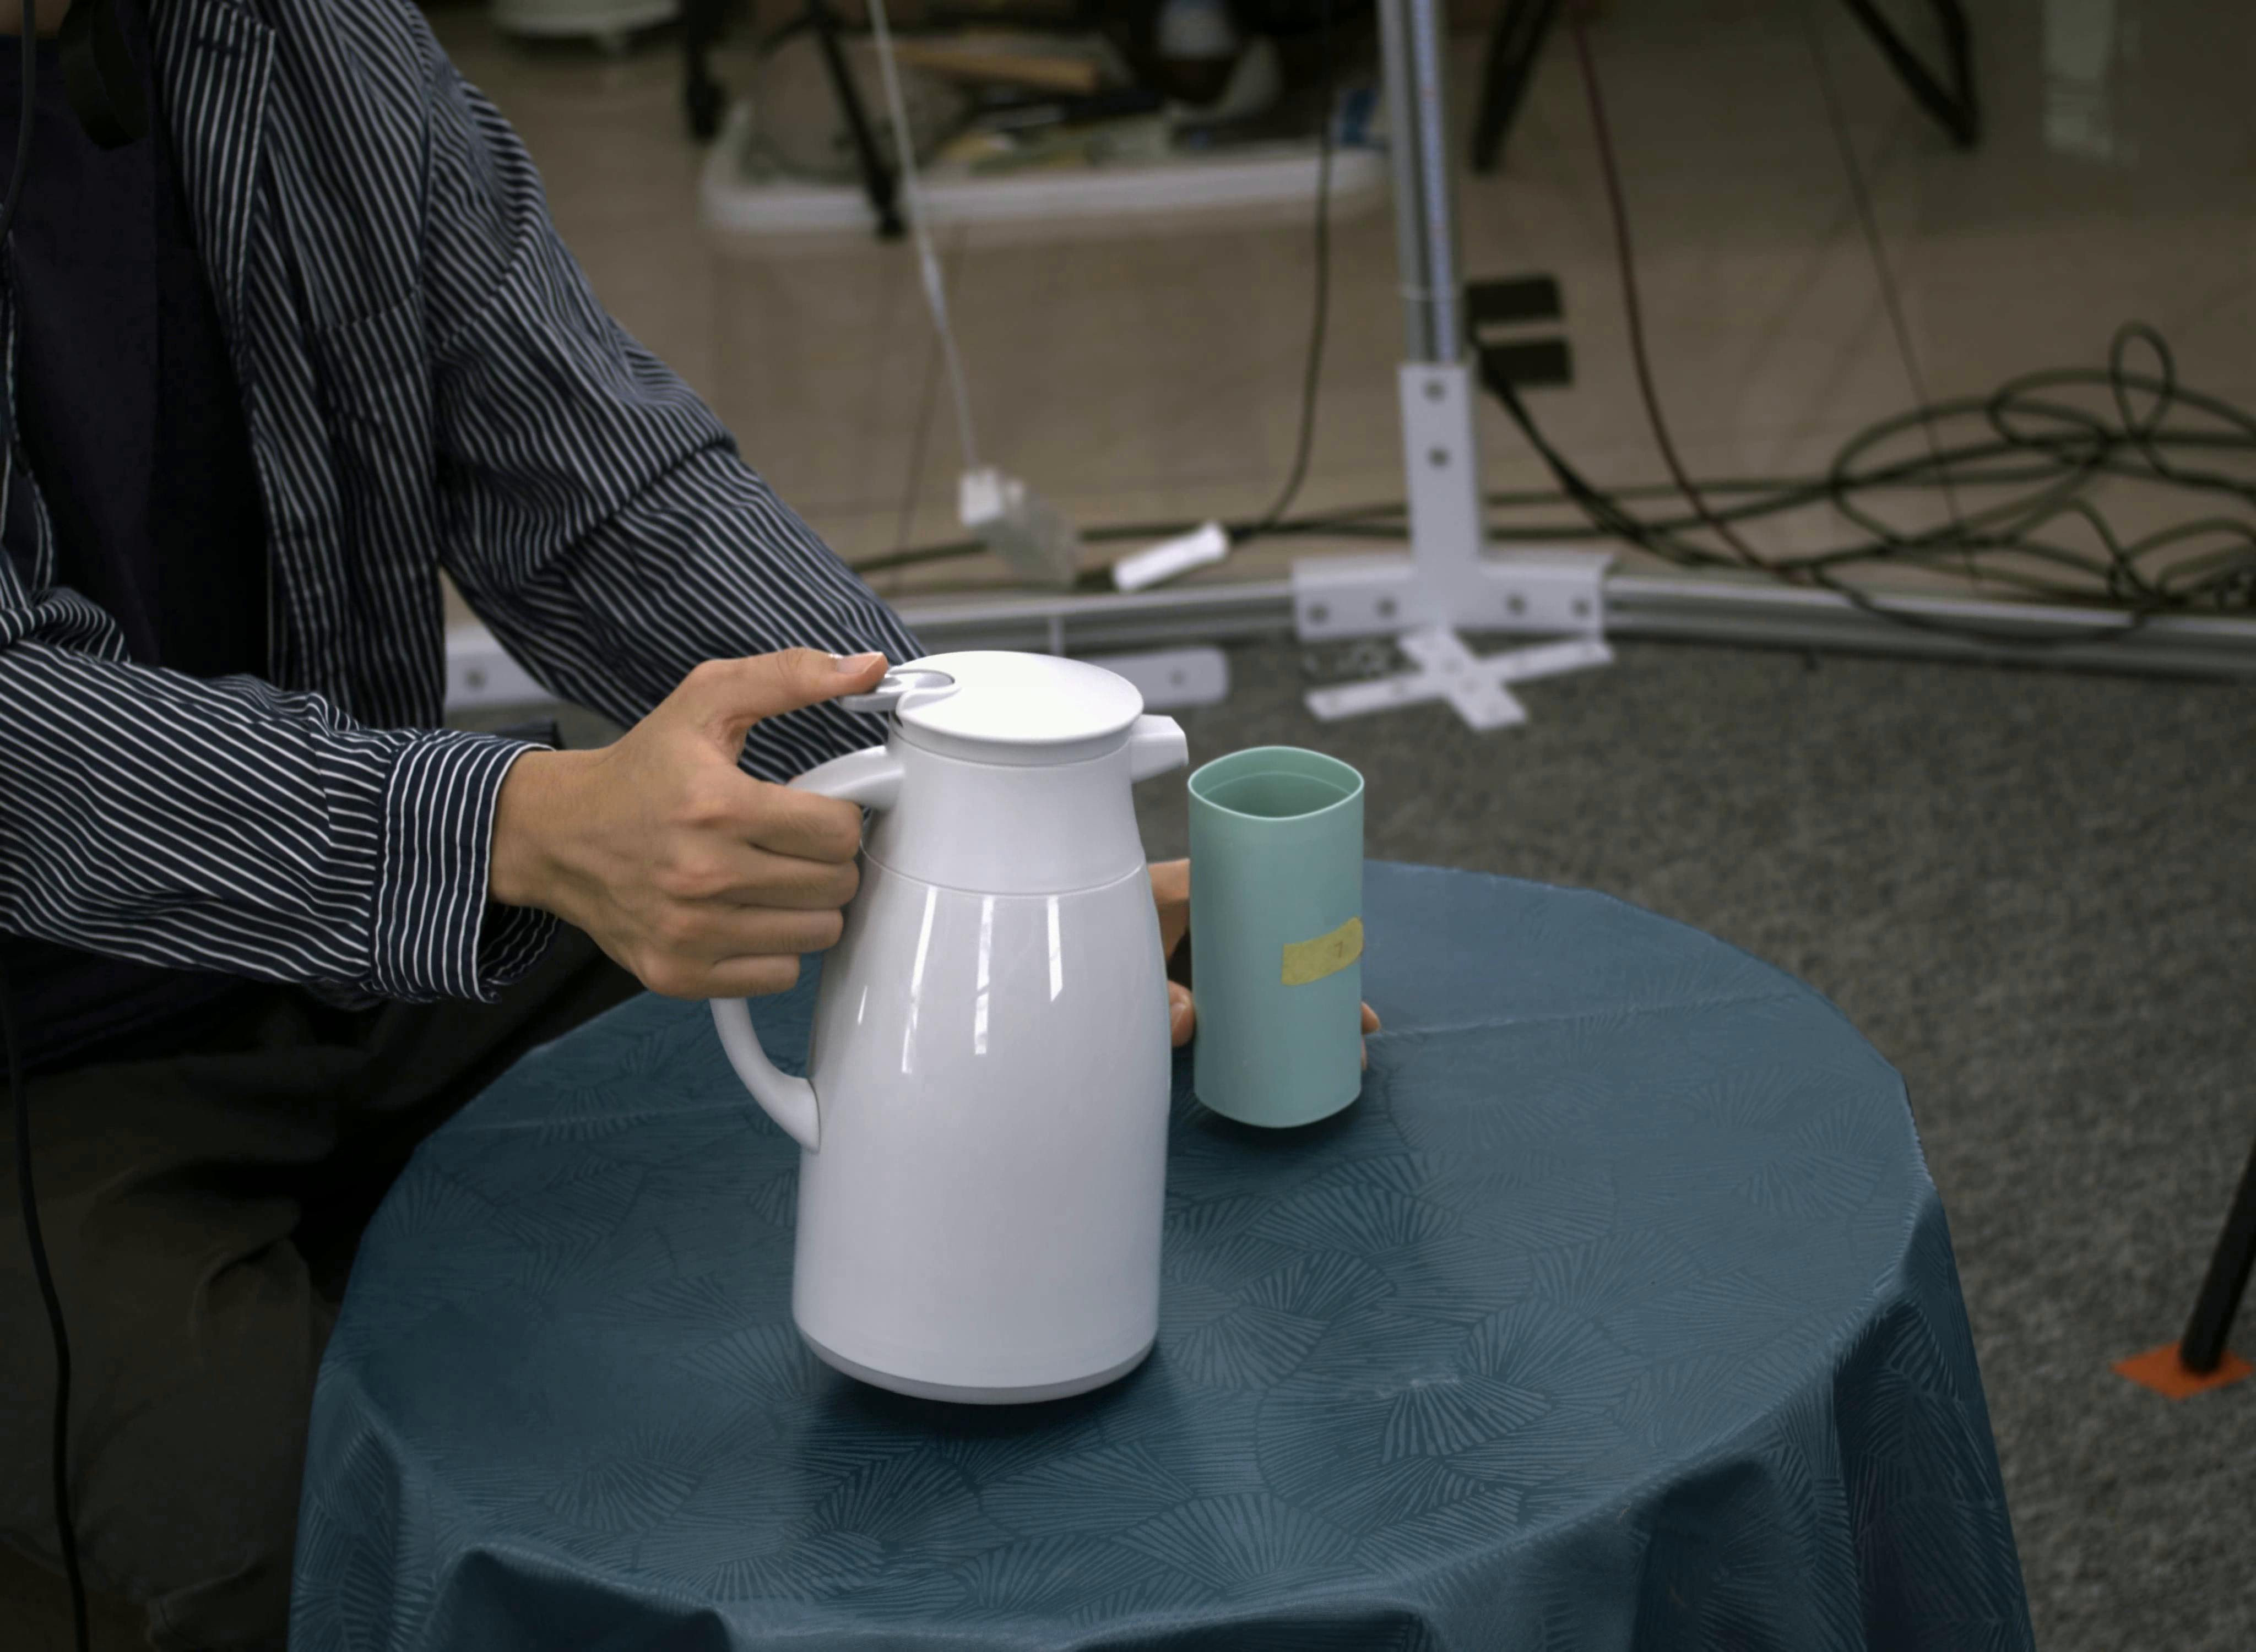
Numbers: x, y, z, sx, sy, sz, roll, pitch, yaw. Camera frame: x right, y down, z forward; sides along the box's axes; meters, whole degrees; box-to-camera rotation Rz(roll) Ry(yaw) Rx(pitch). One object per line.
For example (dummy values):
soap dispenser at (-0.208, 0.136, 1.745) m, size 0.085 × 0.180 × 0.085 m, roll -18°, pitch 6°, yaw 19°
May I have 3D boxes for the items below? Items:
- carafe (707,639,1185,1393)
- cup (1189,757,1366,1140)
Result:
carafe at (-0.065, 0.062, 1.988) m, size 0.167 × 0.252 × 0.131 m, roll -5°, pitch 25°, yaw -18°
cup at (0.057, 0.046, 2.156) m, size 0.066 × 0.134 × 0.066 m, roll -1°, pitch 26°, yaw 1°
